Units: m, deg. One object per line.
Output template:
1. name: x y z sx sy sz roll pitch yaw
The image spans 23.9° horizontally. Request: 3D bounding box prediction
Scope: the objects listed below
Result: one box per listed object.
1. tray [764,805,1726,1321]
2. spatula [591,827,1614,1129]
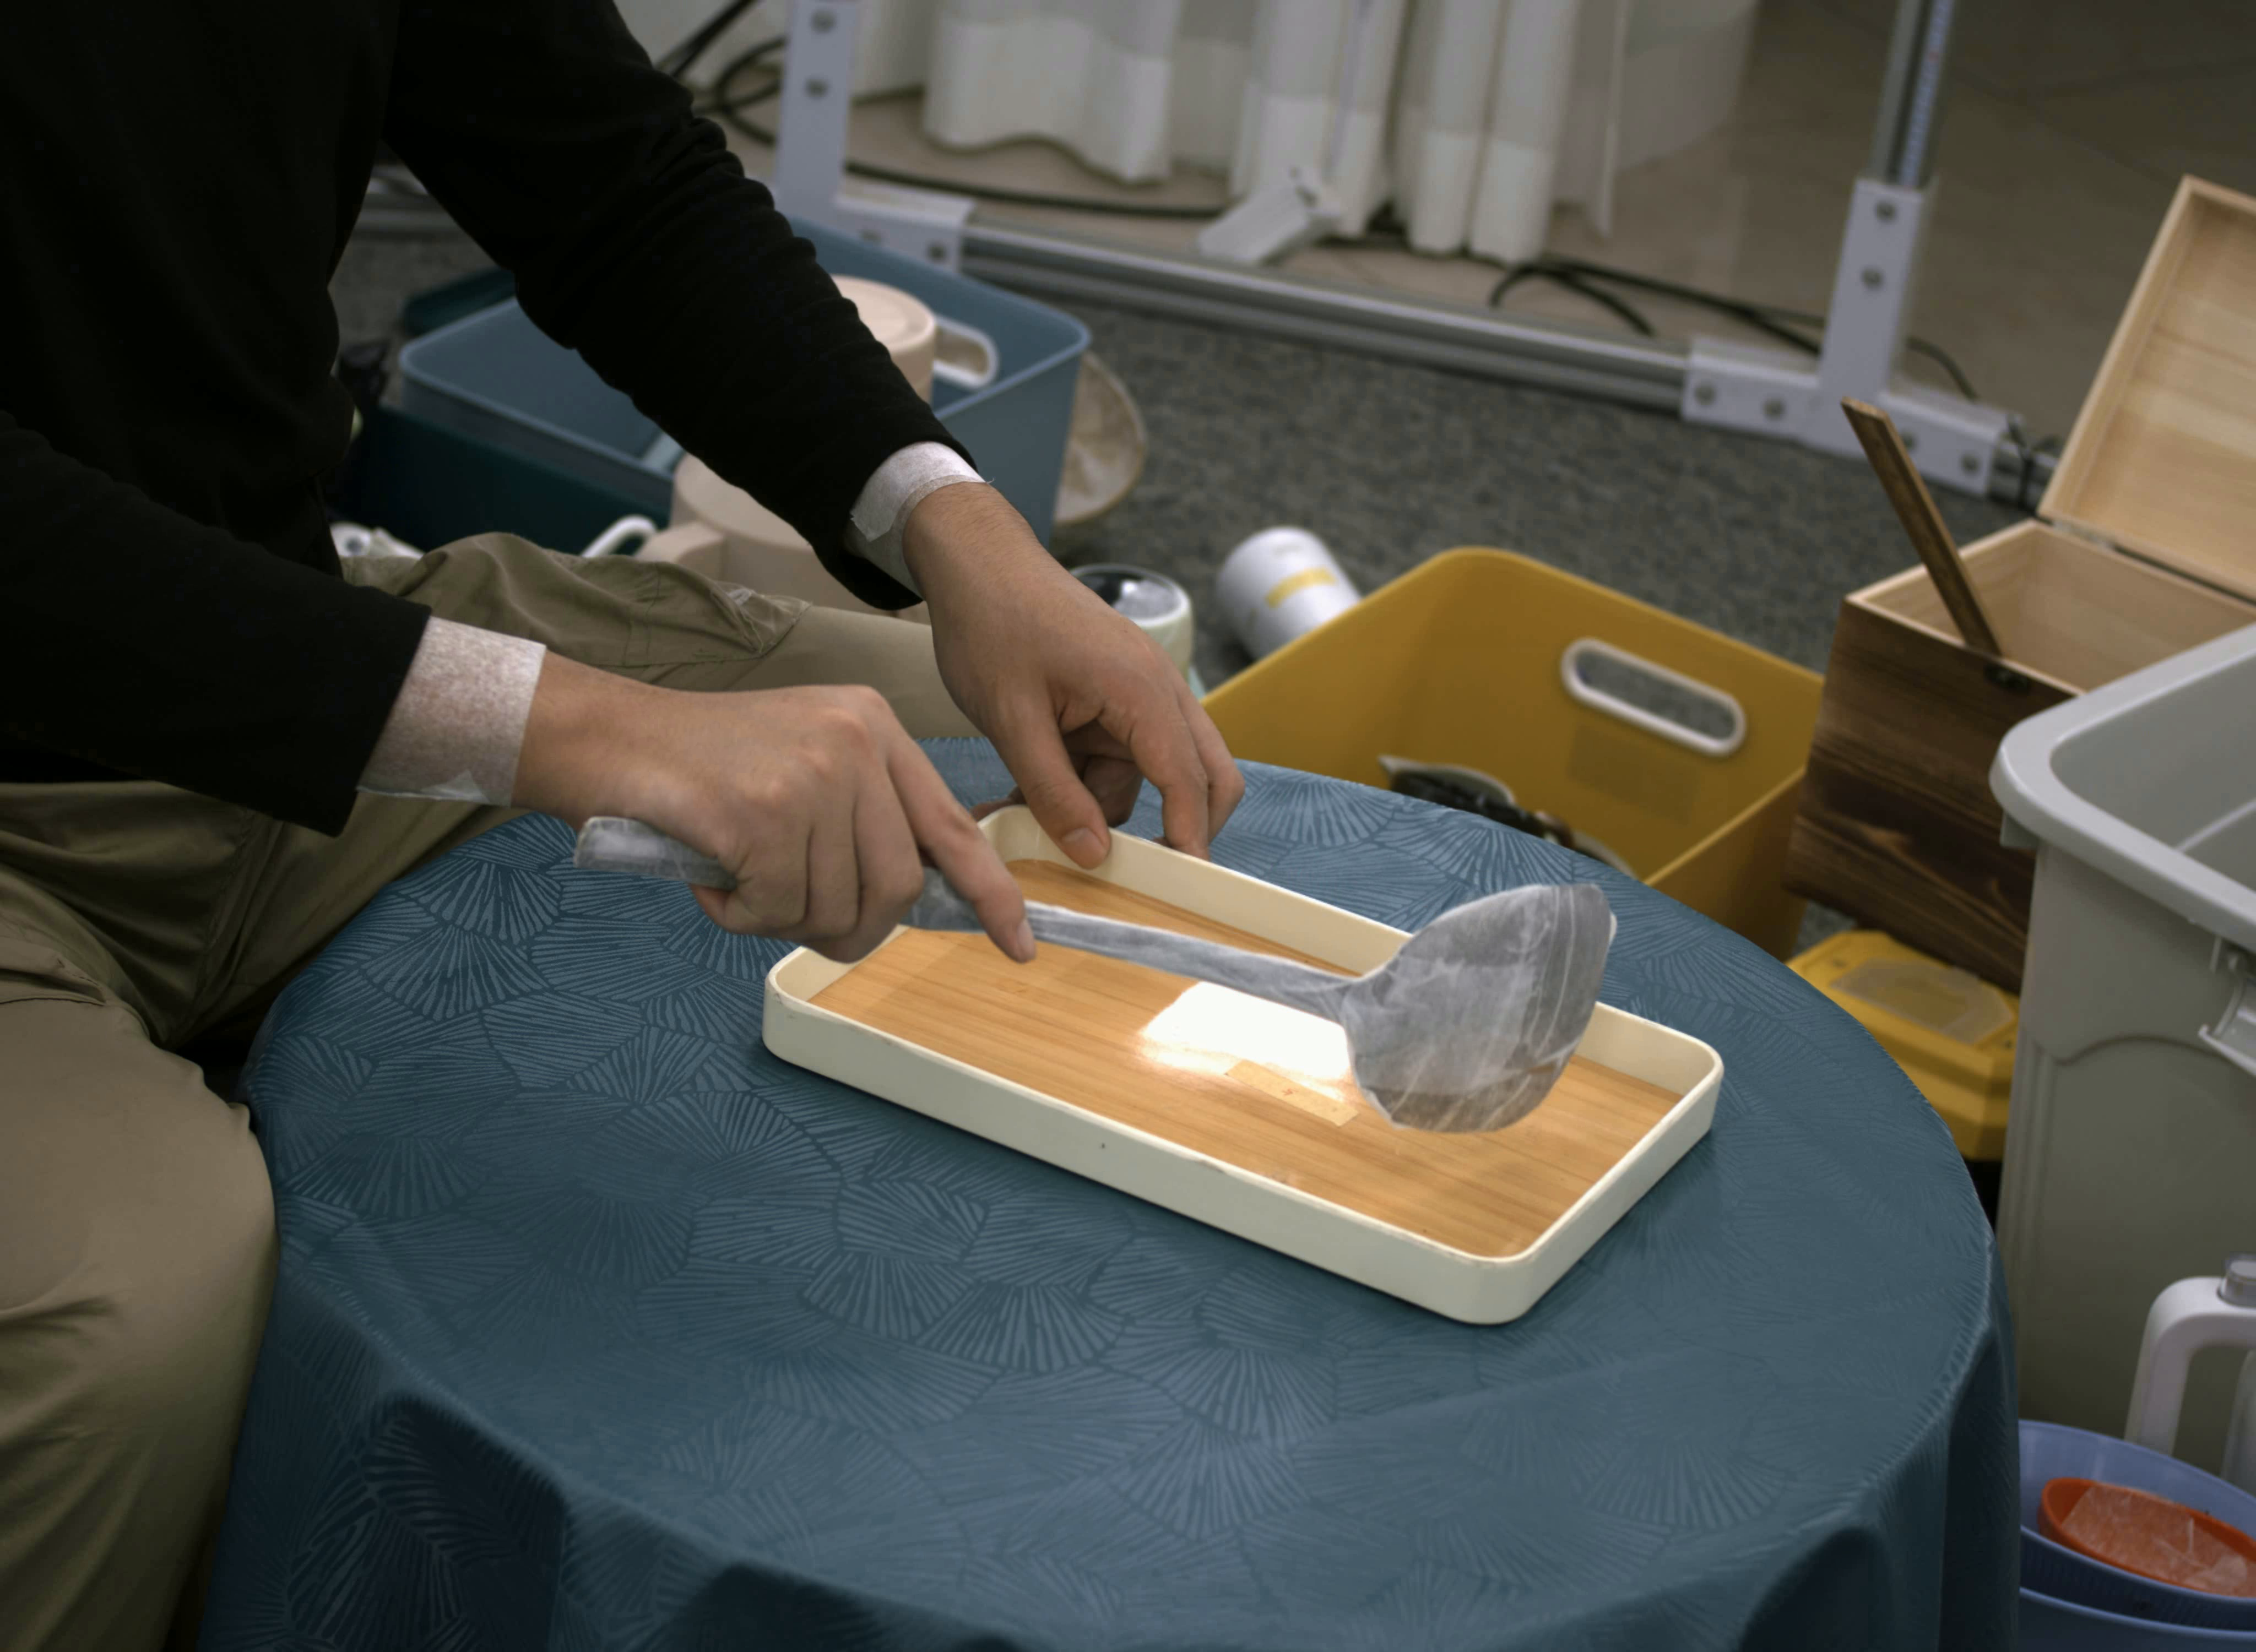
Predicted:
1. tray: 0.041 0.079 1.870 0.301 0.027 0.191 20 30 24
2. spatula: -0.003 0.035 1.753 0.362 0.098 0.045 12 22 -18
